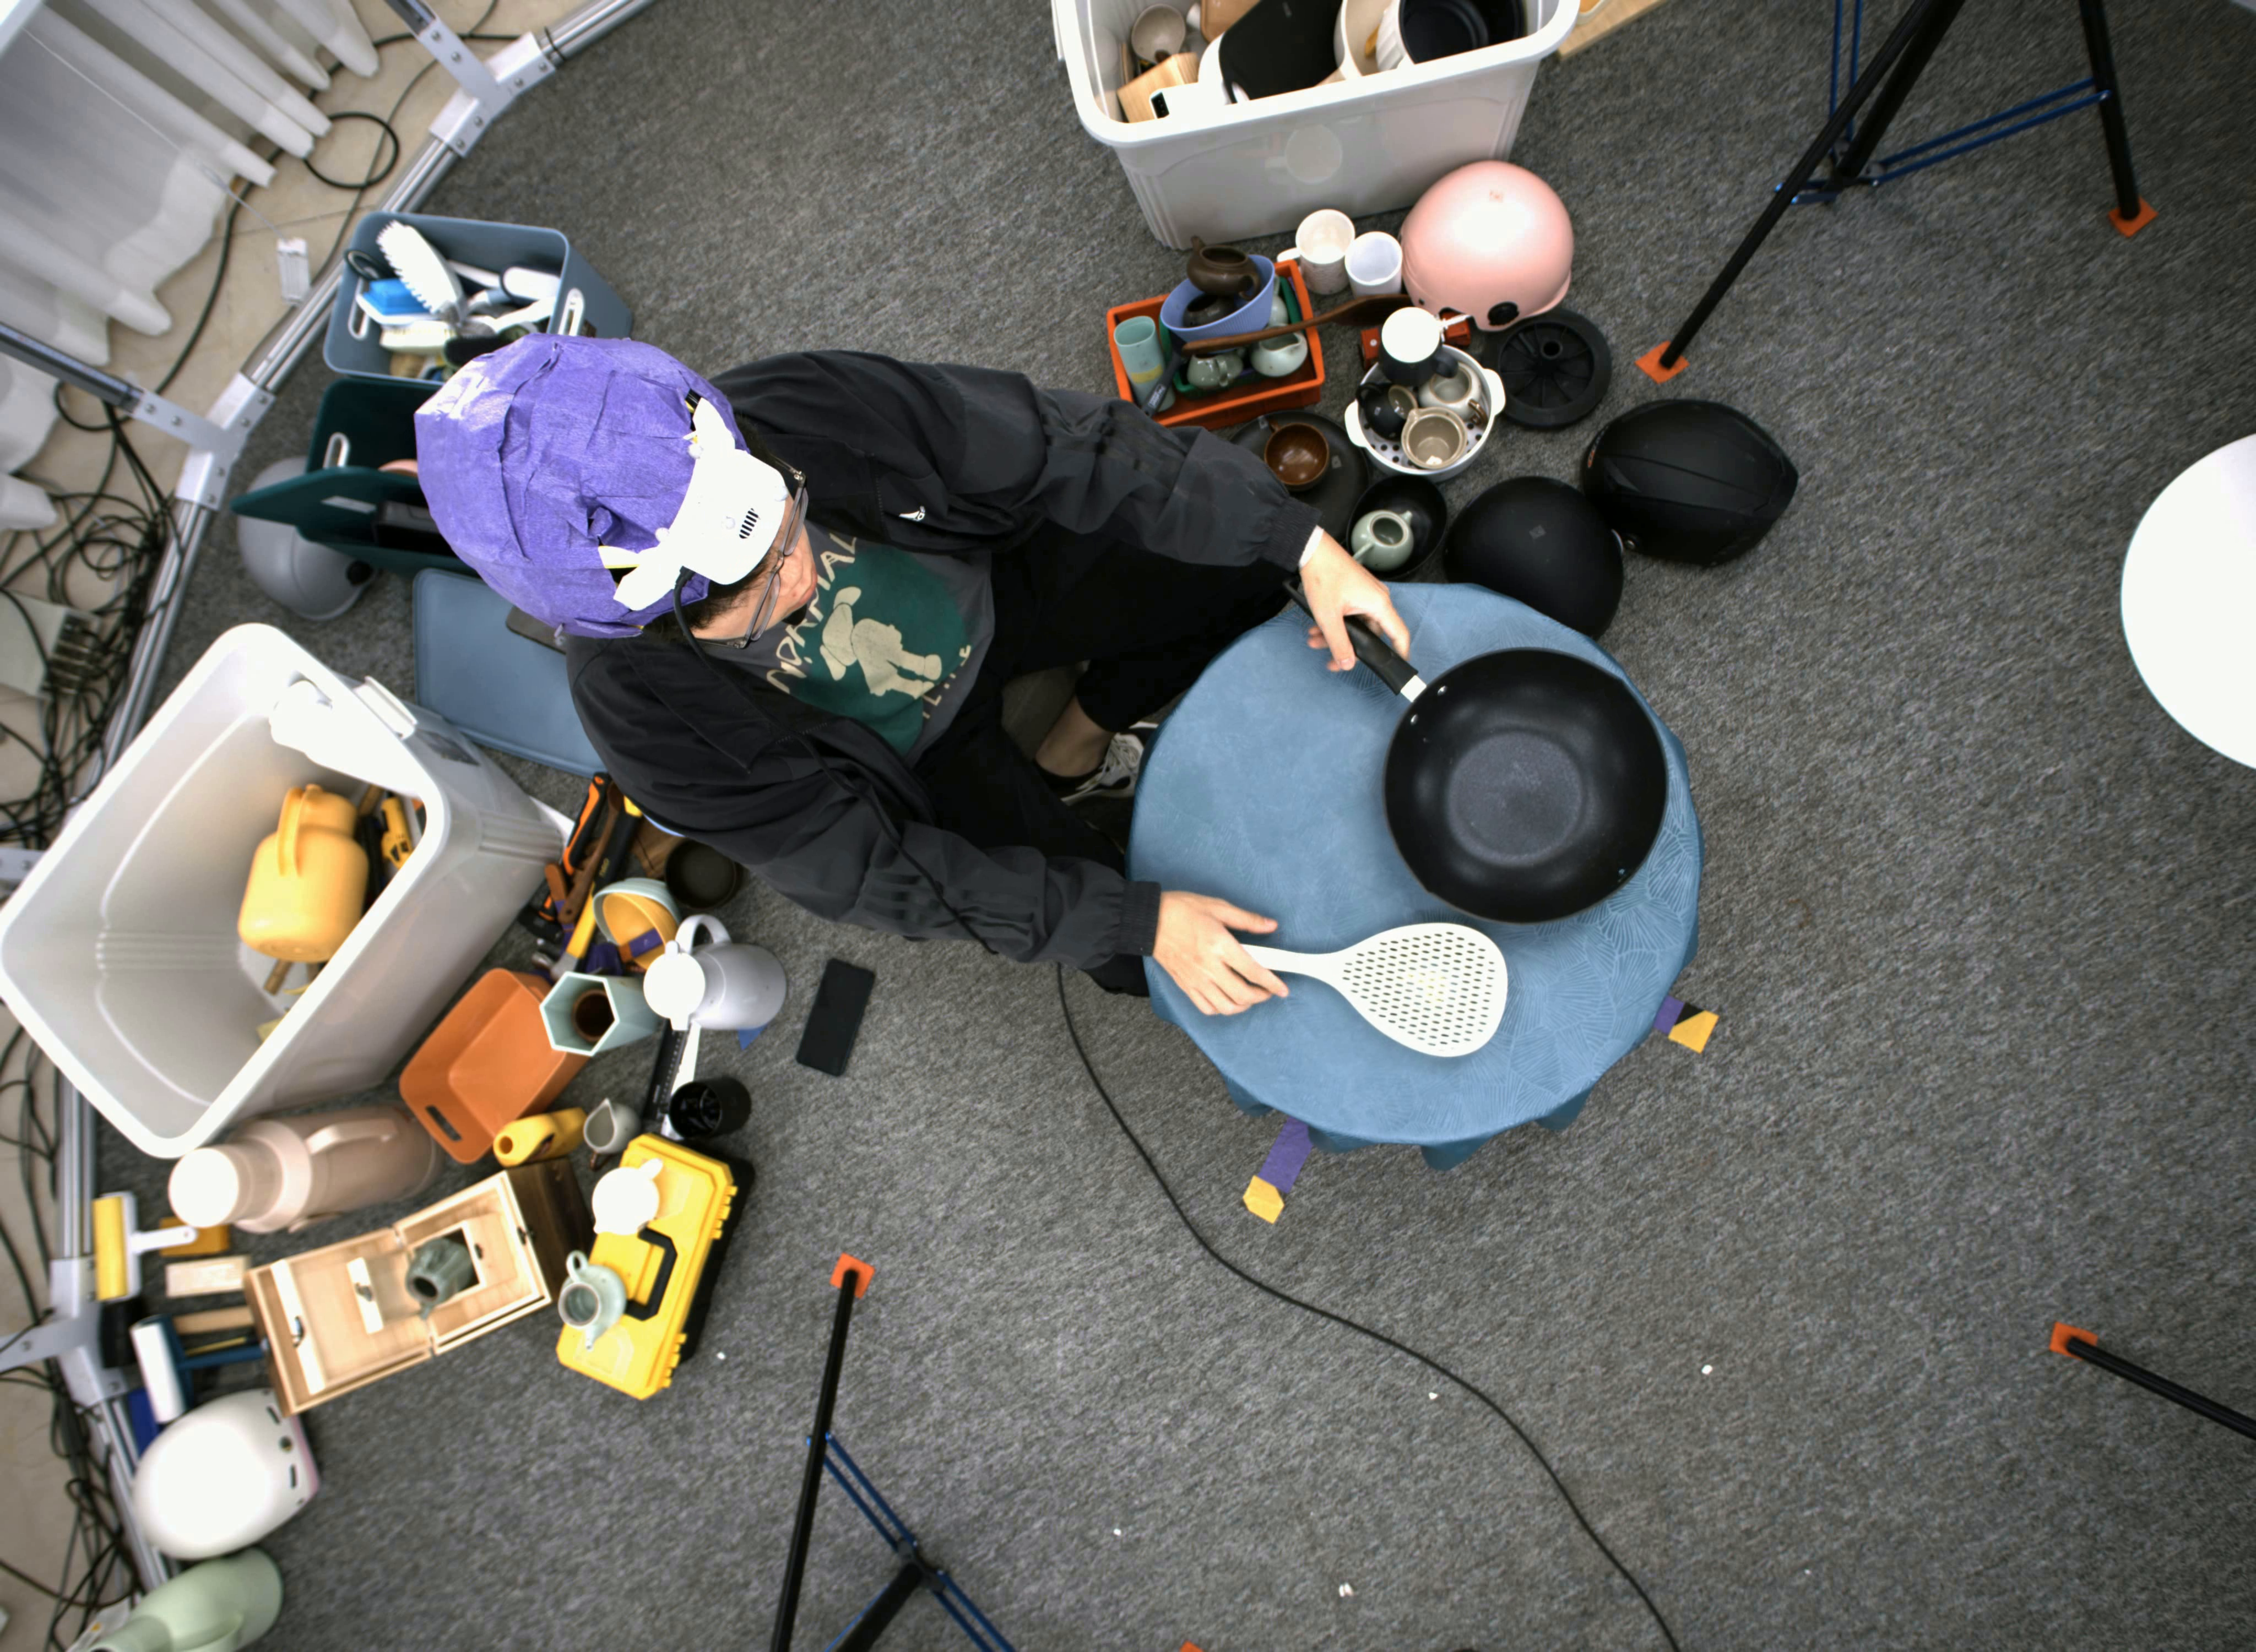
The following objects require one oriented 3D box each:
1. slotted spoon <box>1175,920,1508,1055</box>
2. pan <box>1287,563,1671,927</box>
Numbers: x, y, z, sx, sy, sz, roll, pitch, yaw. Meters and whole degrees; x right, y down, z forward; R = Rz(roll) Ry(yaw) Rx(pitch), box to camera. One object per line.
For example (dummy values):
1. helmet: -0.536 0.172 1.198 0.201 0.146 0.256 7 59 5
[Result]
1. slotted spoon: 0.217 0.149 1.444 0.349 0.050 0.136 9 88 11
2. pan: 0.334 -0.100 1.412 0.461 0.087 0.289 44 95 10
